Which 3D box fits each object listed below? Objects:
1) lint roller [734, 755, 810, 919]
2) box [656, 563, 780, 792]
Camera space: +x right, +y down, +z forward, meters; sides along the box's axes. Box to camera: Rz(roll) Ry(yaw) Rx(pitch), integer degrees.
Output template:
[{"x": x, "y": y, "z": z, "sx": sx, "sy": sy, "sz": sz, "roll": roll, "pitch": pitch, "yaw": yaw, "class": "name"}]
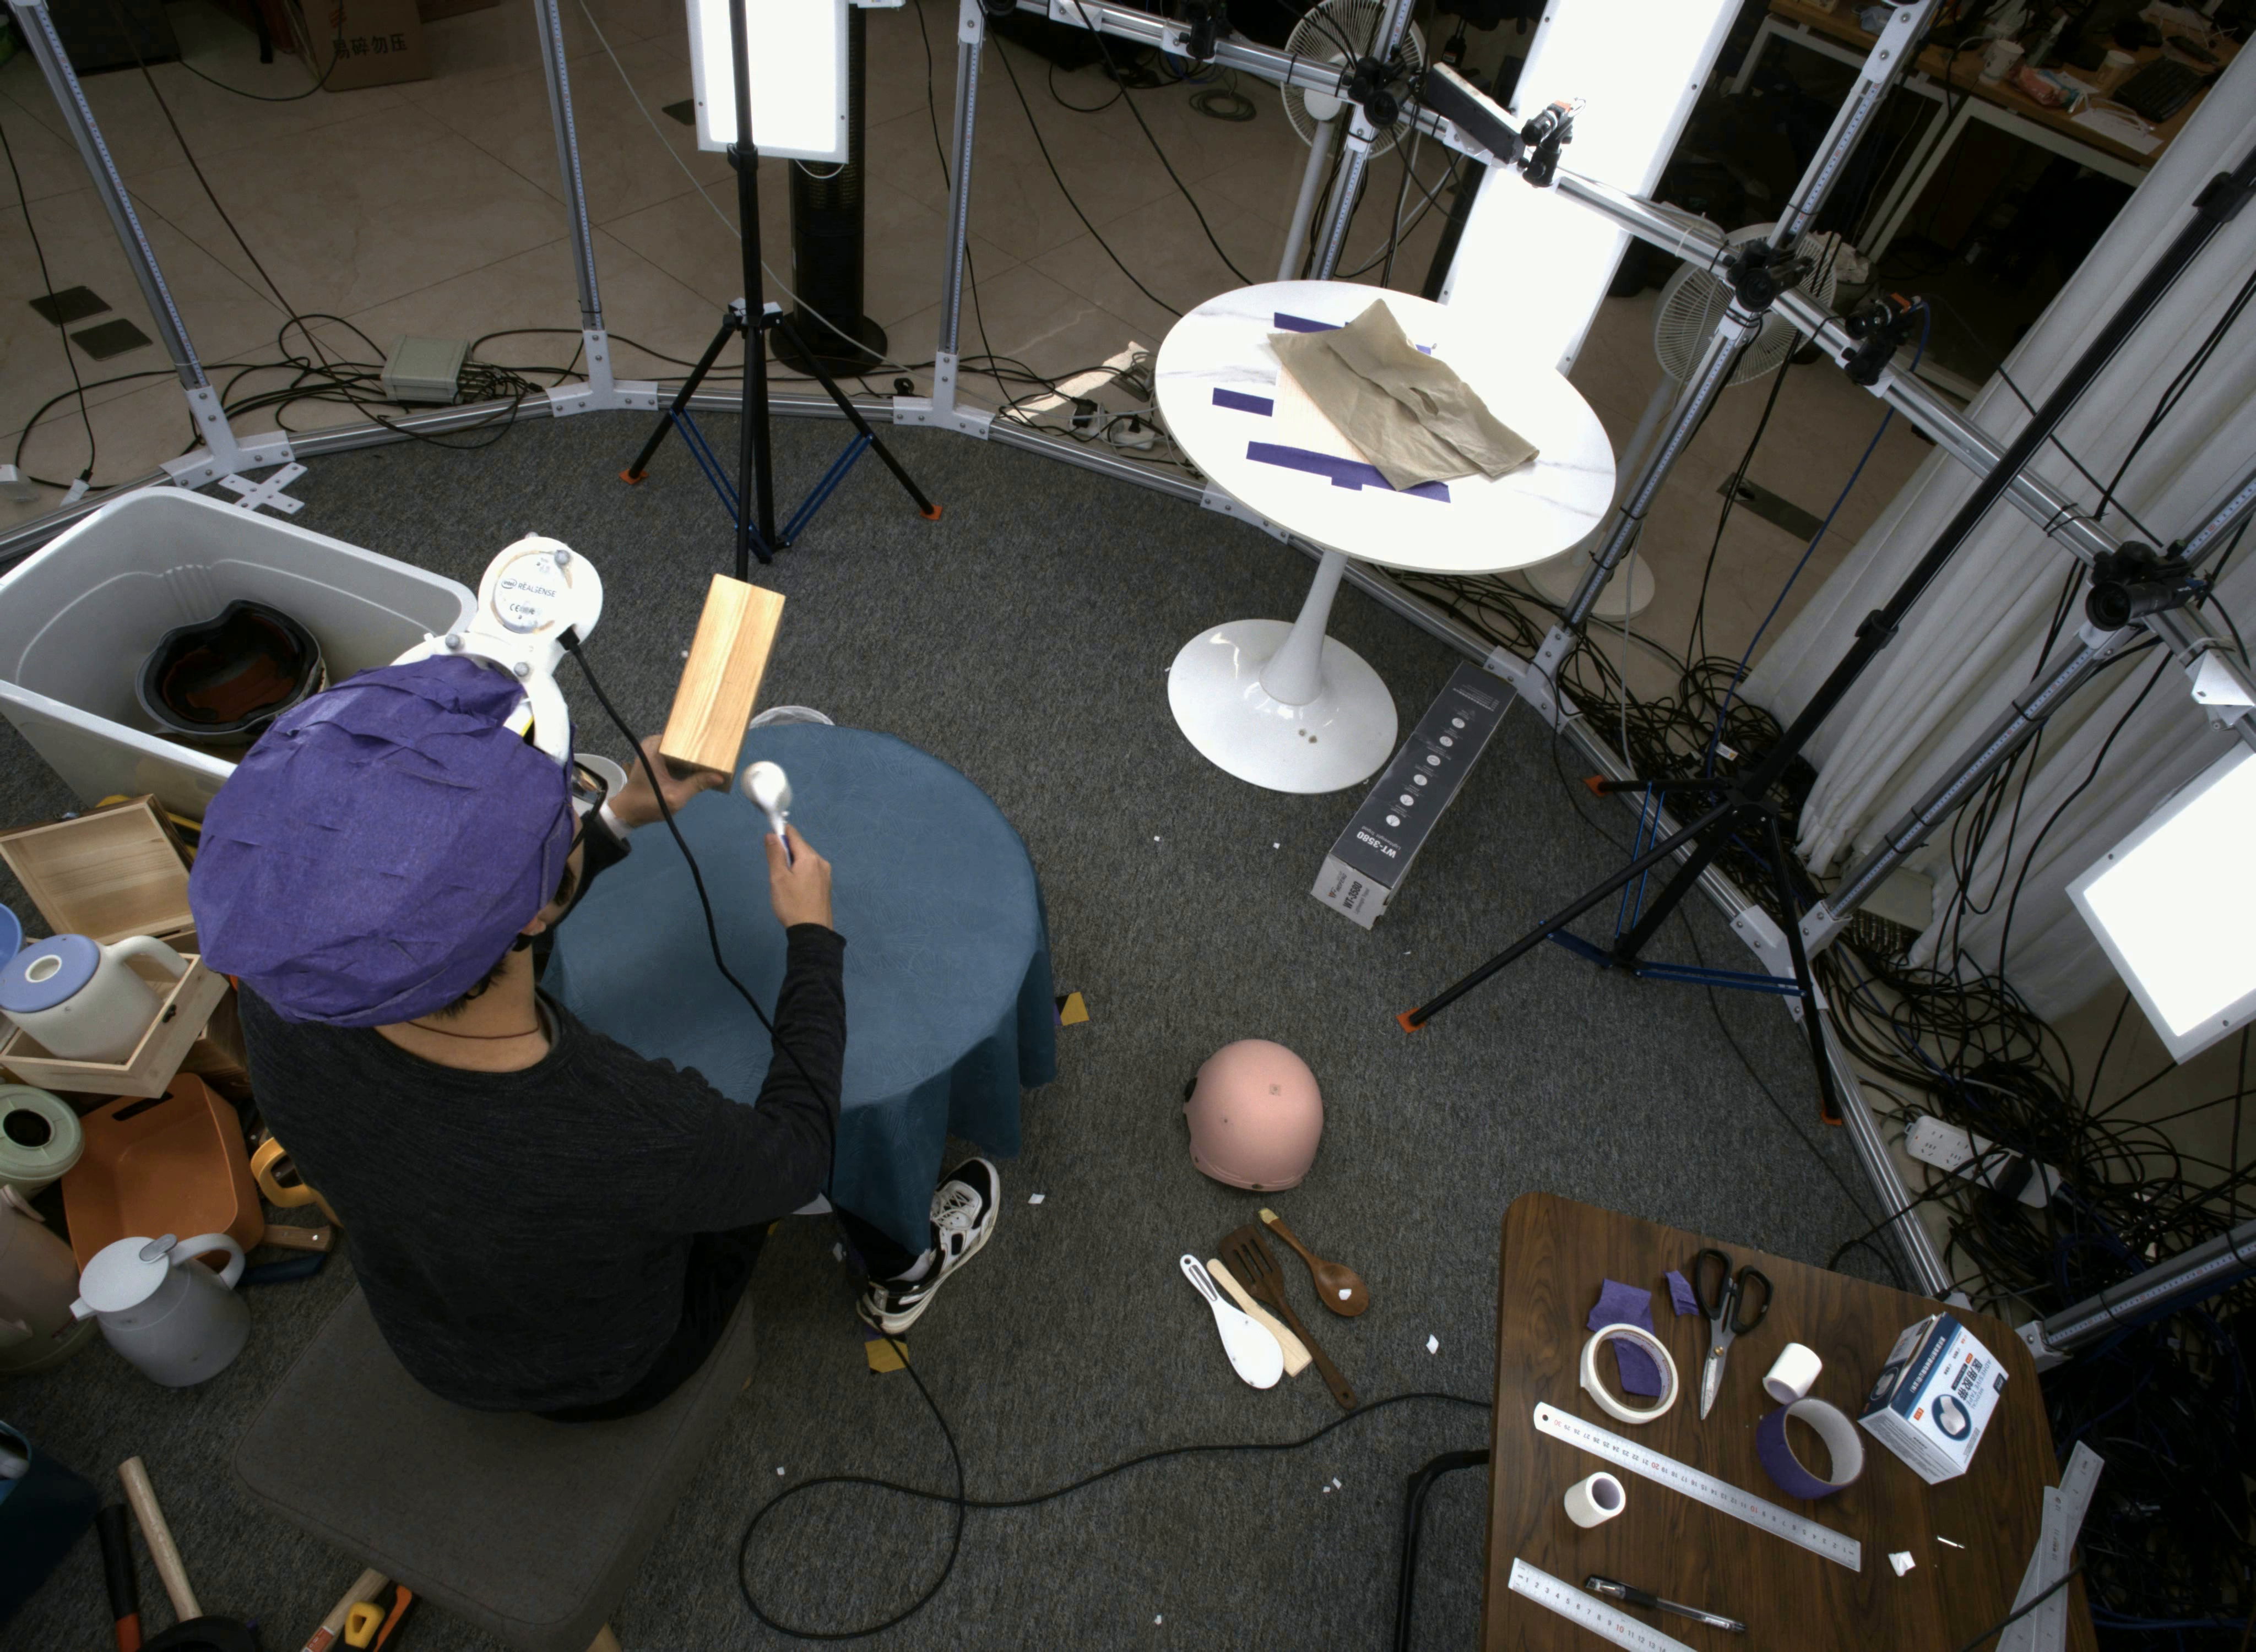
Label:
[{"x": -0.382, "y": 0.011, "z": 1.444, "sx": 0.050, "sy": 0.132, "sz": 0.182, "roll": -27, "pitch": 88, "yaw": -14, "class": "lint roller"}, {"x": -0.448, "y": -0.161, "z": 1.410, "sx": 0.081, "sy": 0.107, "sz": 0.211, "roll": 15, "pitch": 74, "yaw": -14, "class": "box"}]
